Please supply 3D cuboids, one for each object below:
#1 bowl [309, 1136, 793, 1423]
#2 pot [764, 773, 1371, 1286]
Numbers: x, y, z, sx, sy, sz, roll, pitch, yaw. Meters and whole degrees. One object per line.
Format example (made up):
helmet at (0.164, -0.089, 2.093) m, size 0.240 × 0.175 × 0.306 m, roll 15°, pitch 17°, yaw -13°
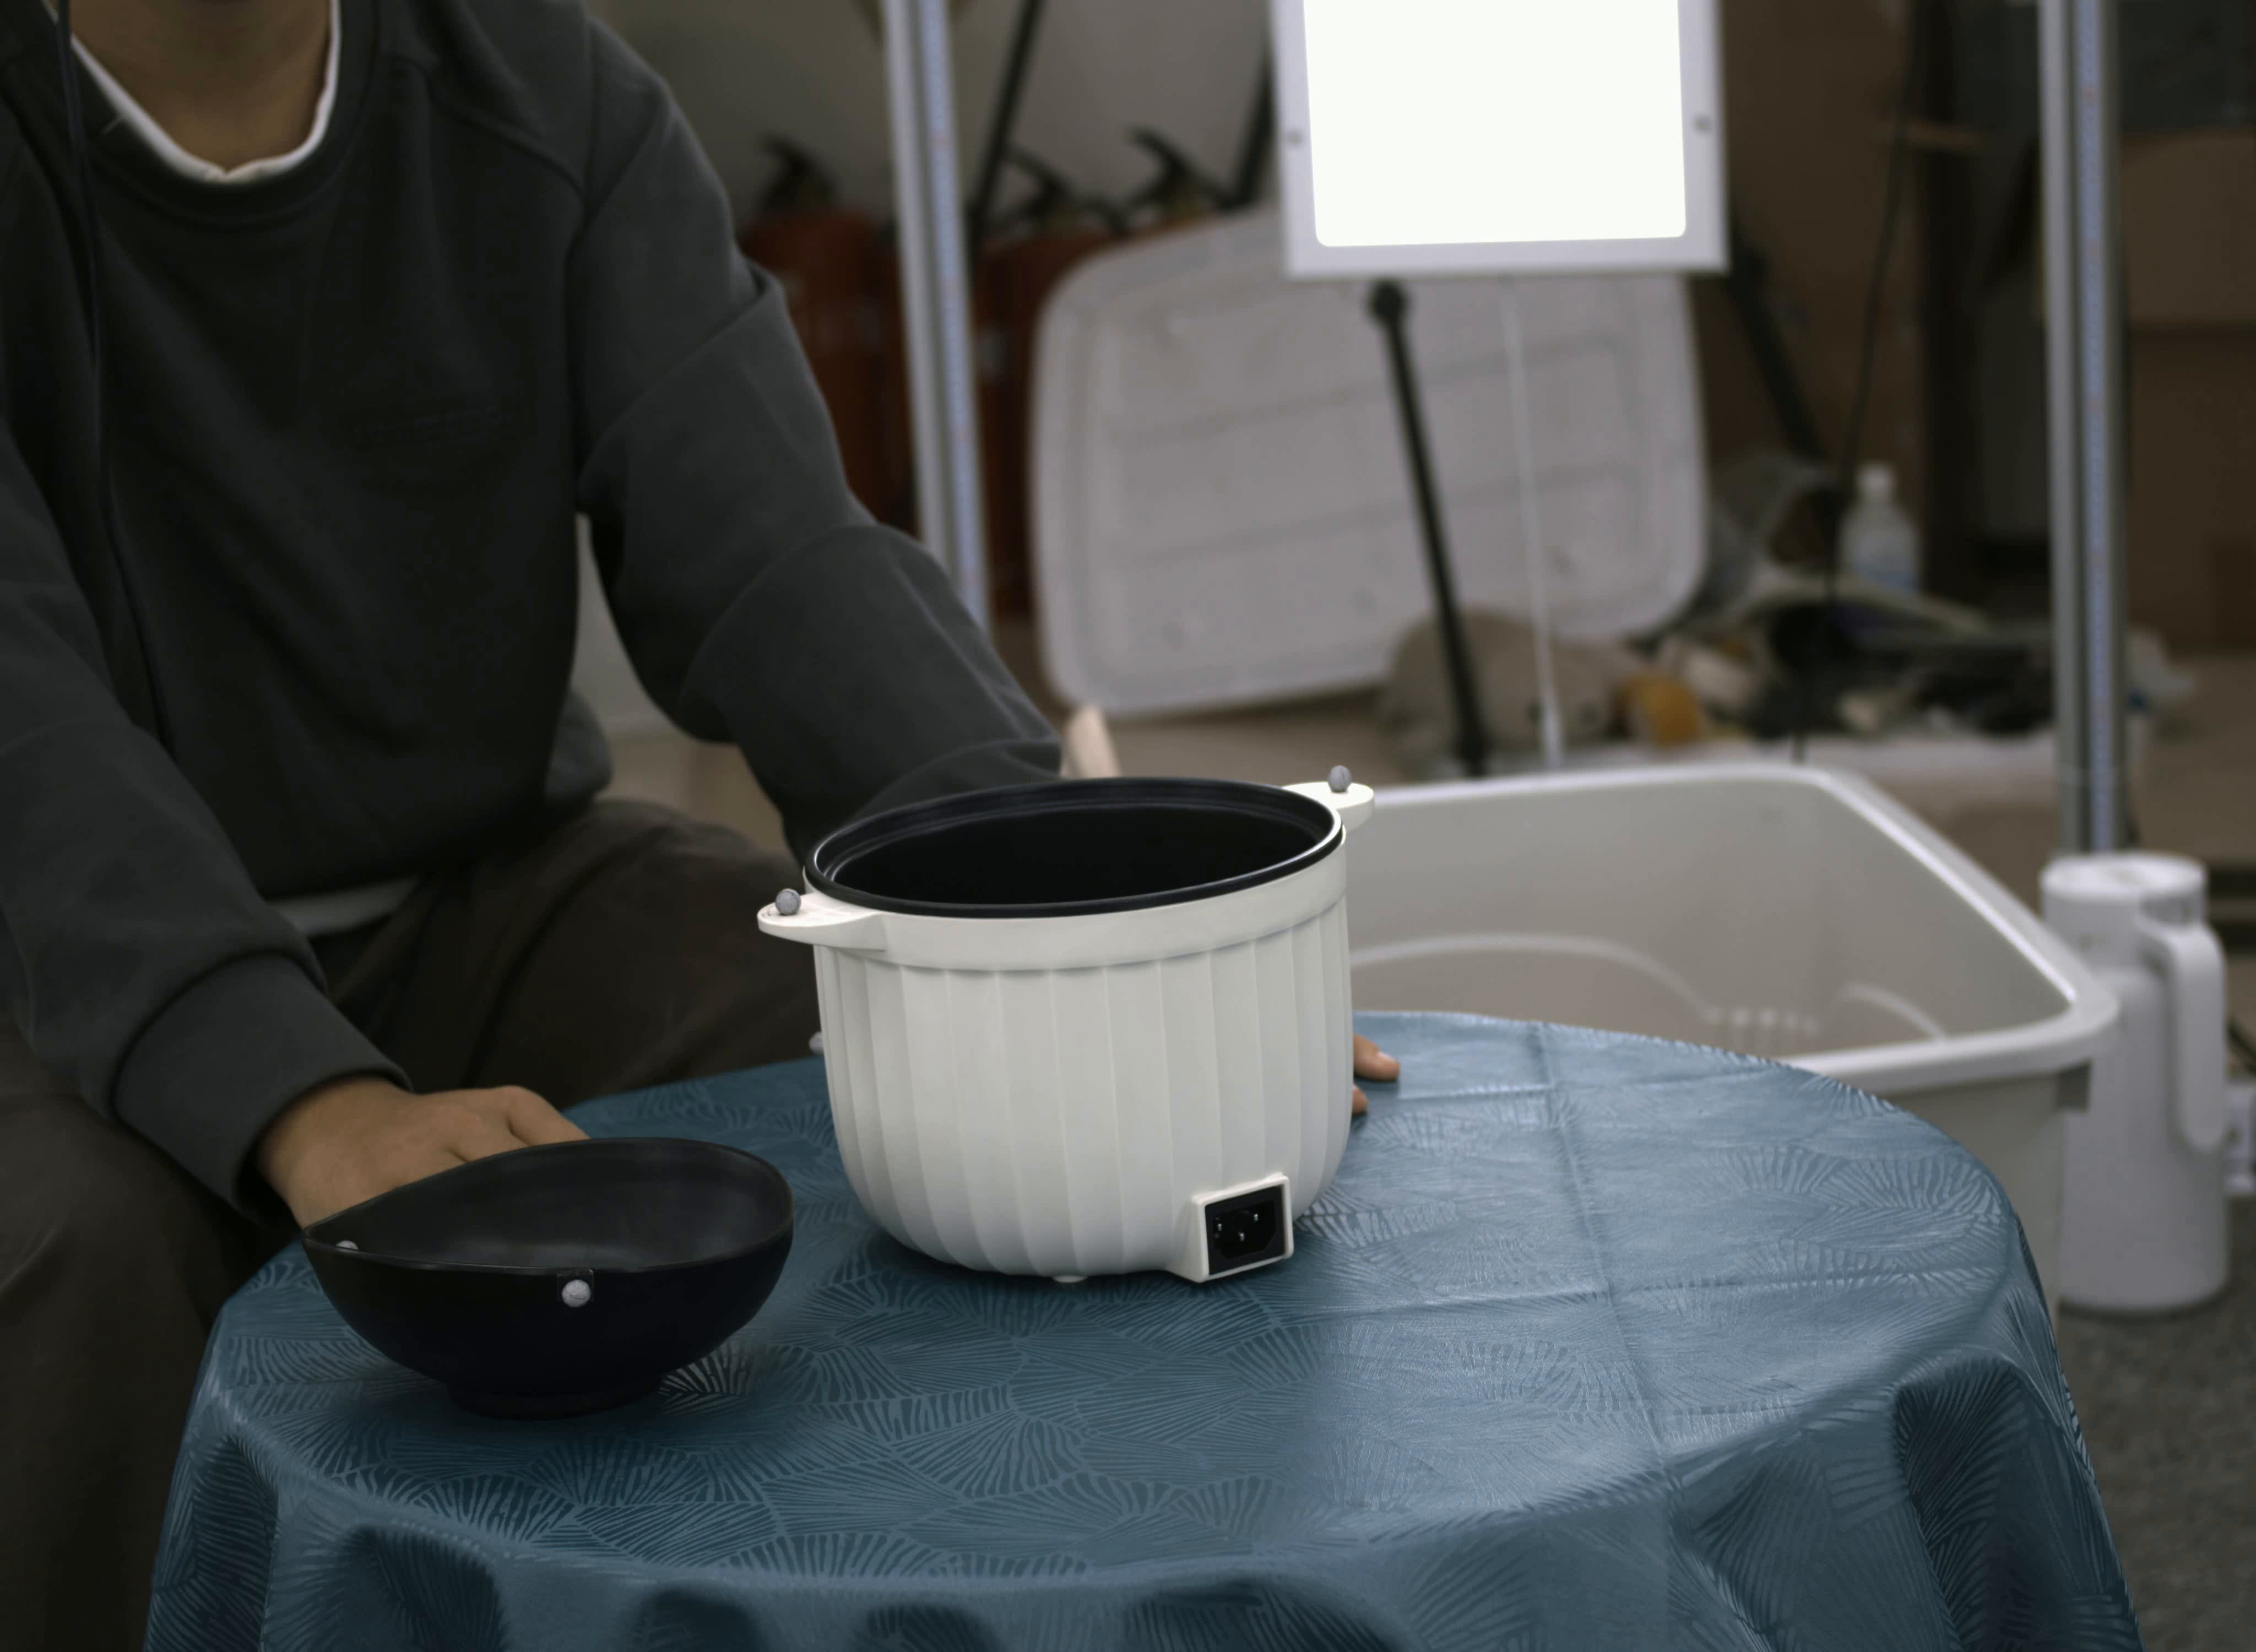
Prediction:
bowl at (-0.181, 0.147, 1.742) m, size 0.174 × 0.067 × 0.134 m, roll 3°, pitch 15°, yaw 35°
pot at (-0.017, 0.068, 1.853) m, size 0.235 × 0.143 × 0.194 m, roll -12°, pitch 18°, yaw -32°
